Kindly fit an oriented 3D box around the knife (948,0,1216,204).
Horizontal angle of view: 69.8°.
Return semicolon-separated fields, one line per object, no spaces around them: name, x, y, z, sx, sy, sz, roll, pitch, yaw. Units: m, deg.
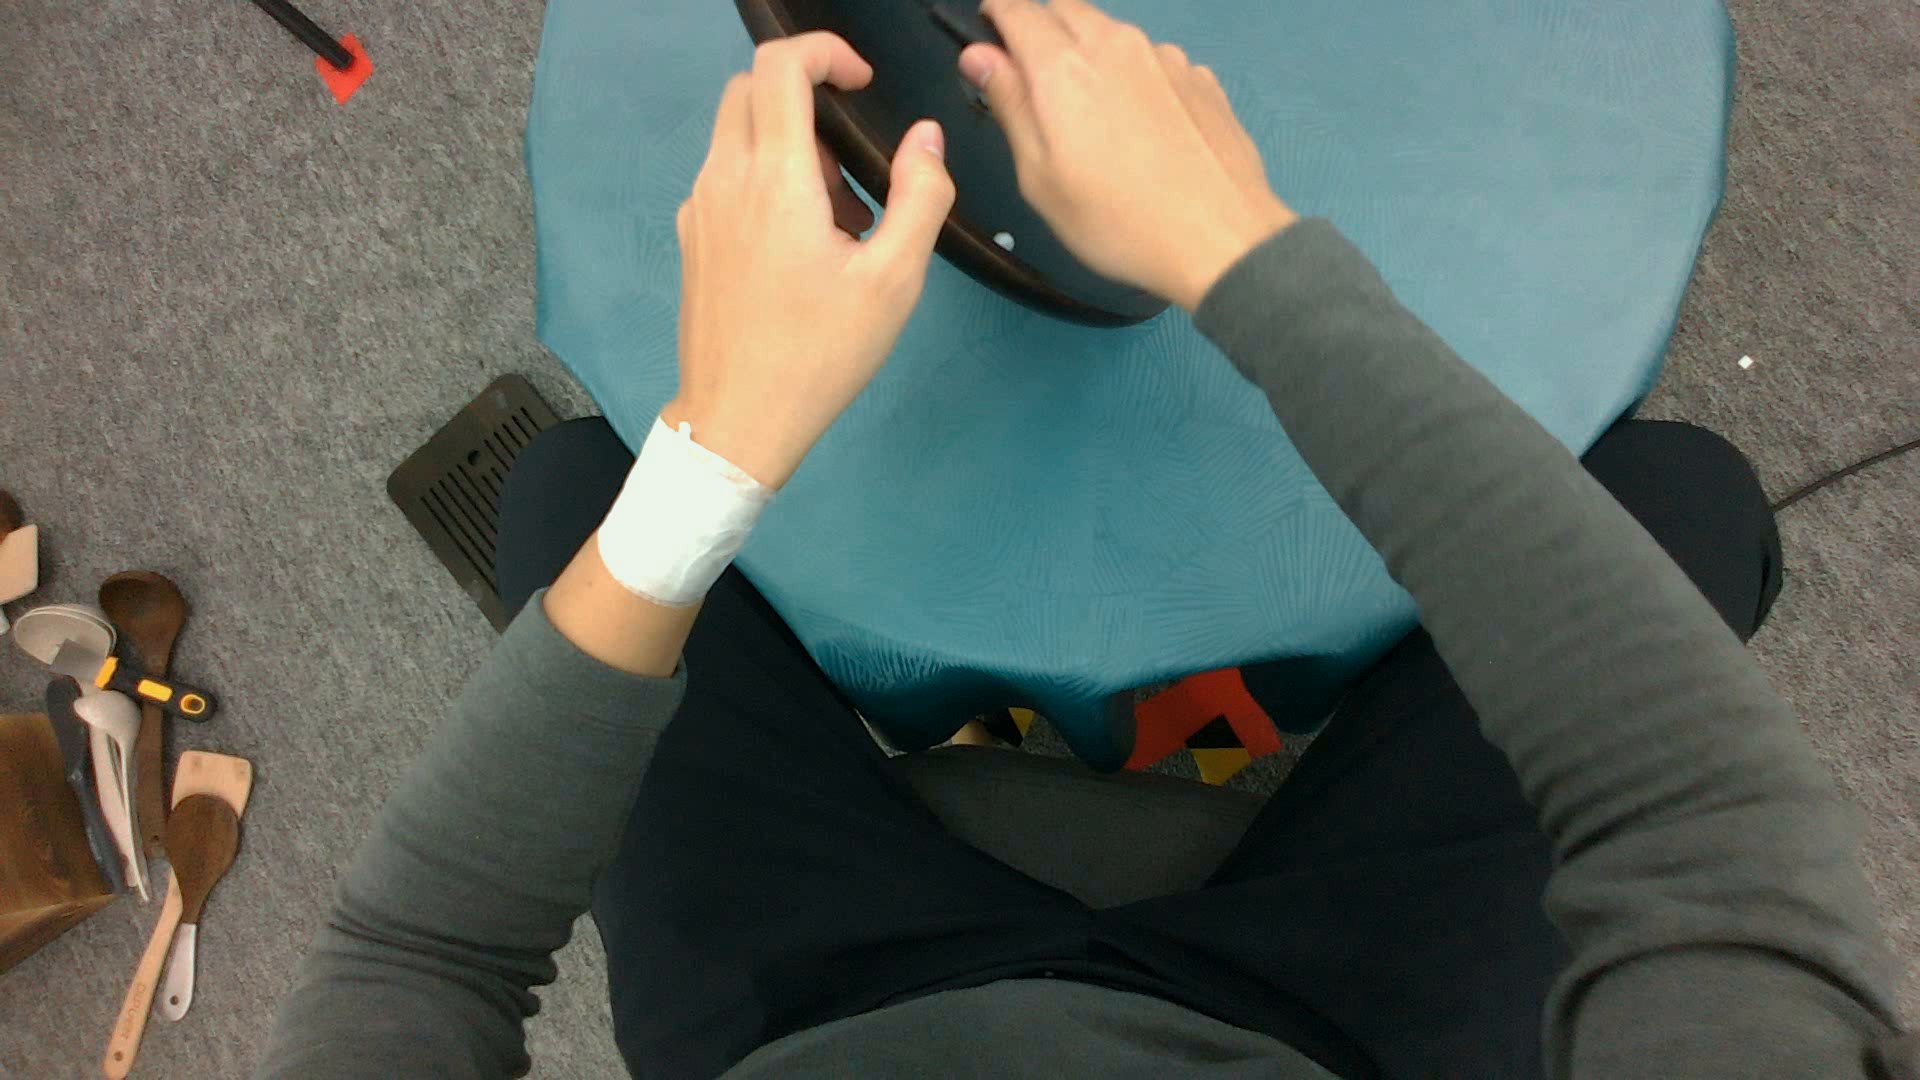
knife;-0.010;-0.243;0.576;0.302;0.081;0.021;44;119;10

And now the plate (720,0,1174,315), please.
plate;-0.003;-0.197;0.592;0.029;0.256;0.255;-40;78;31
